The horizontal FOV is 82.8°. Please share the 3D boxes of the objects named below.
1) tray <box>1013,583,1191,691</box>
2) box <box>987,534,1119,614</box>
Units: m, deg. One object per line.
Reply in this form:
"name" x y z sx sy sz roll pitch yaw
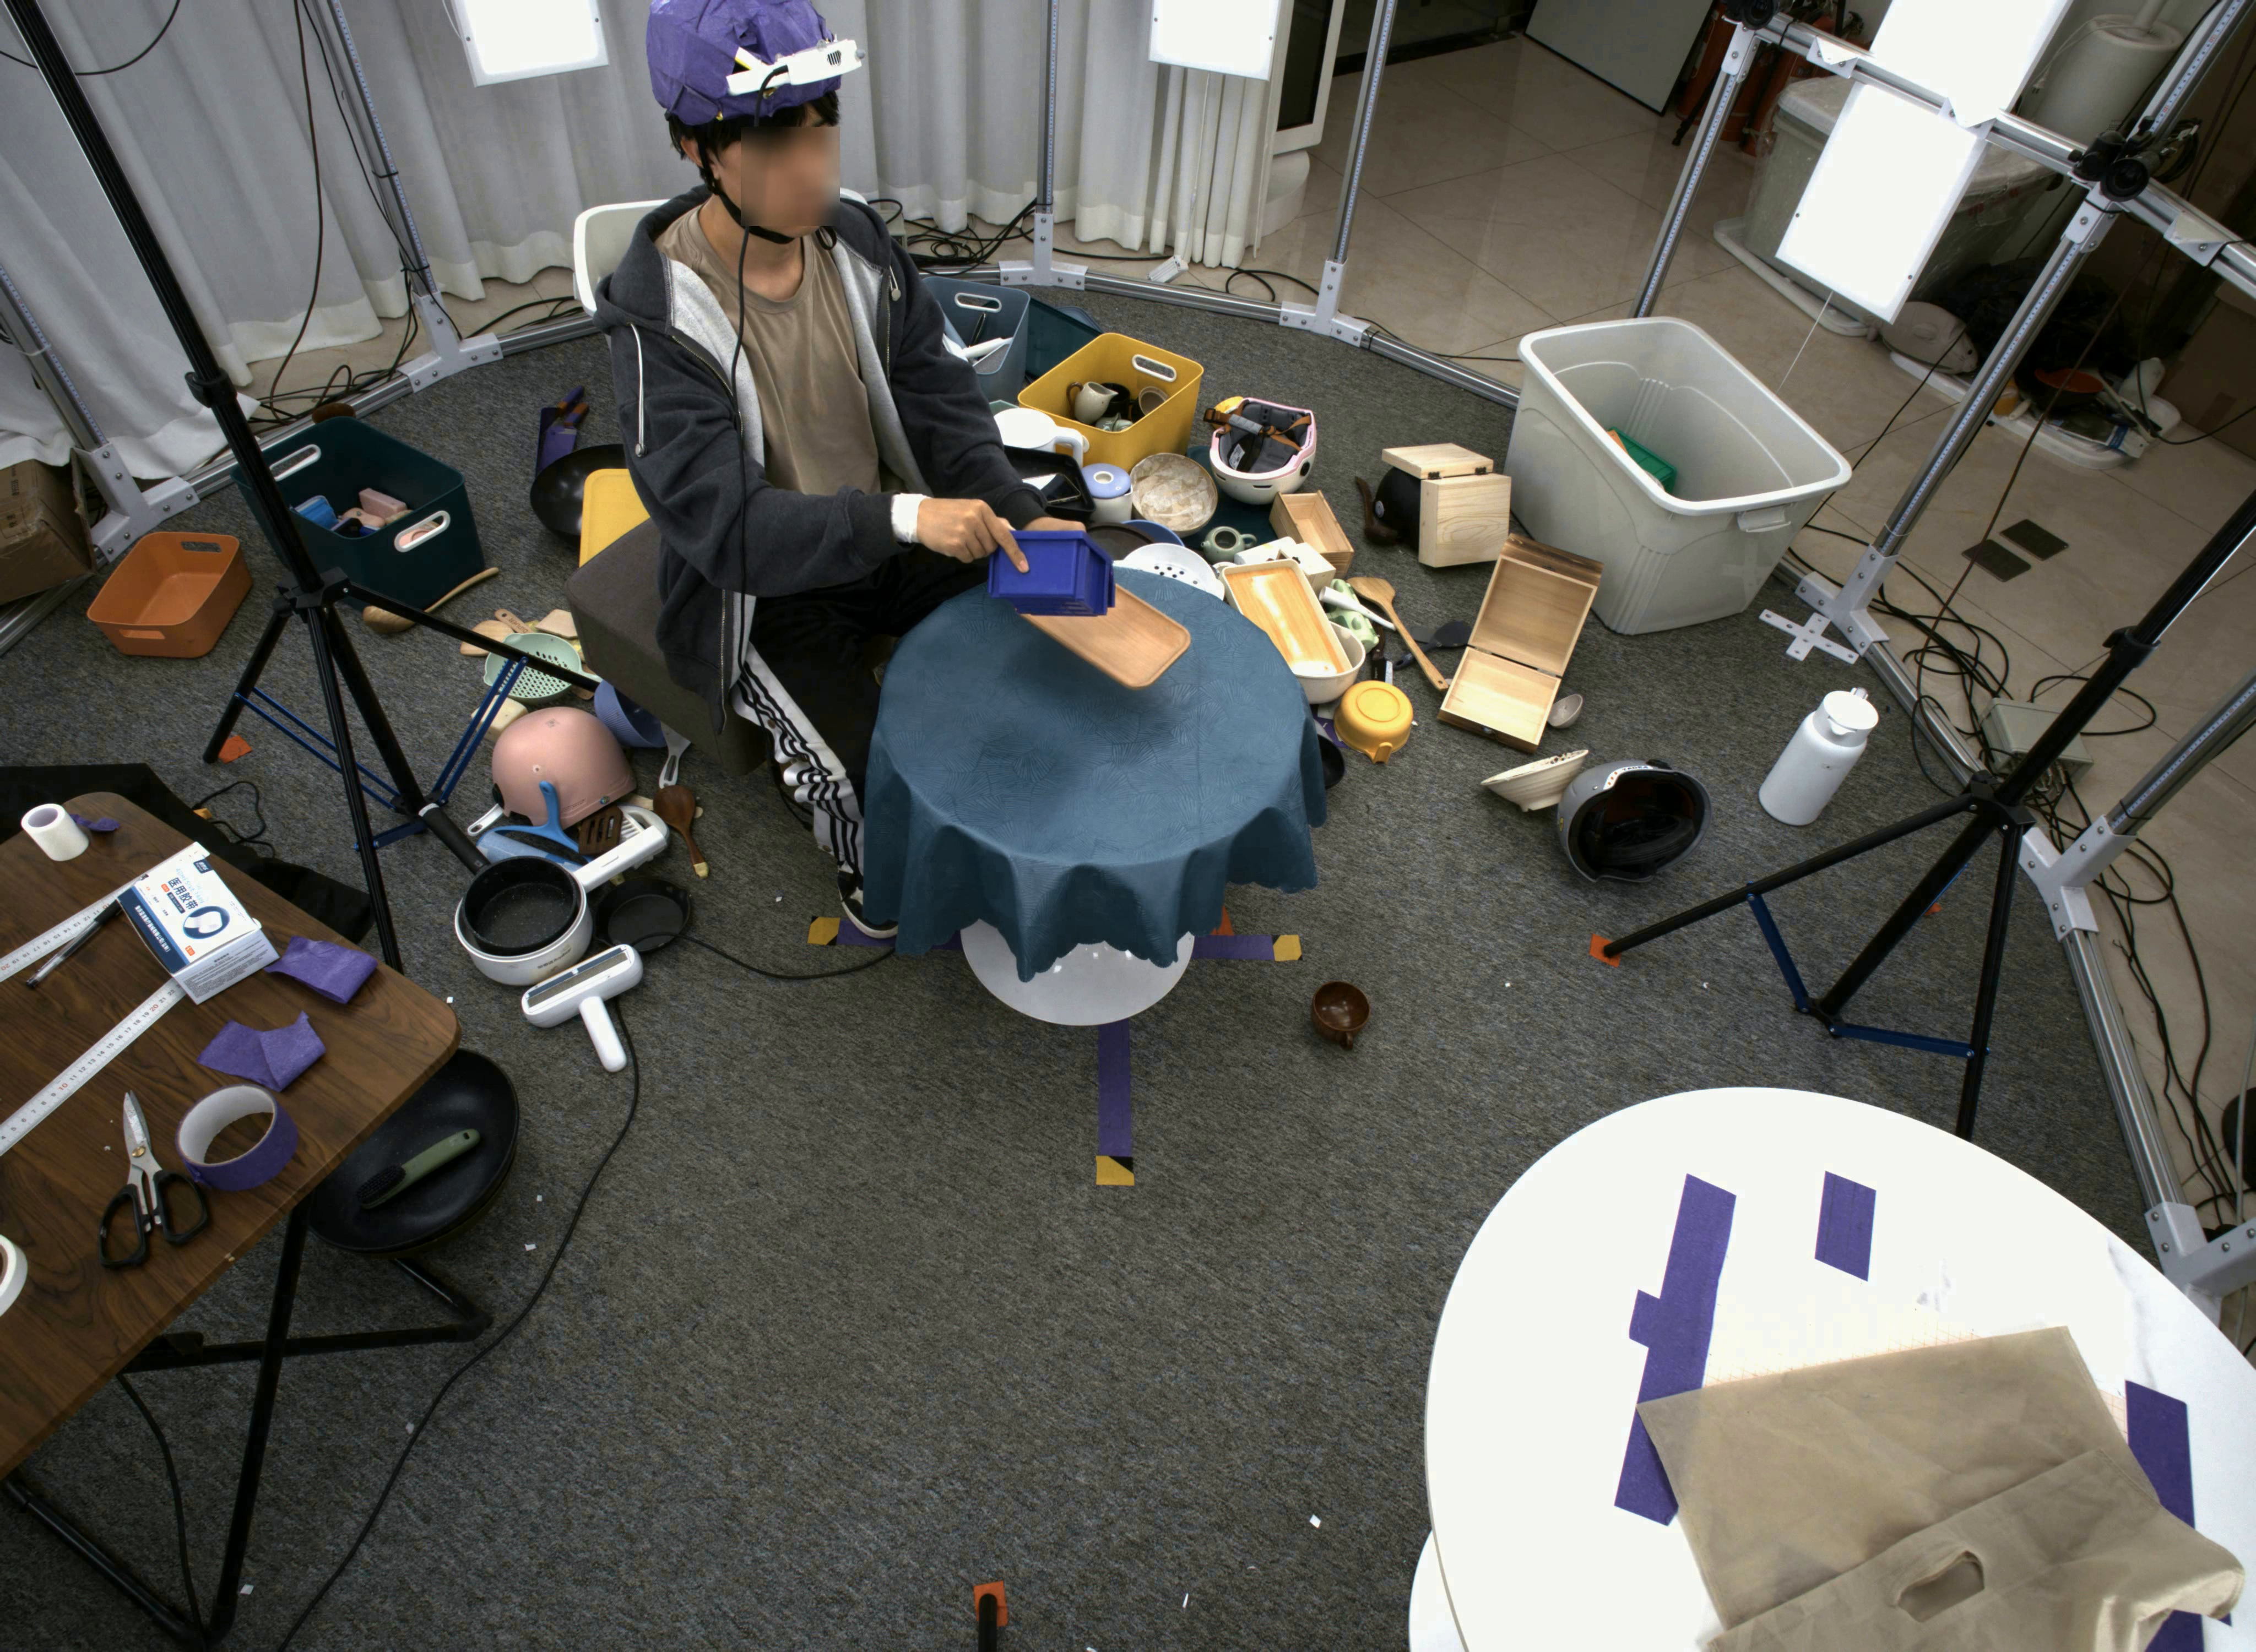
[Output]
"tray" -0.038 -0.285 1.798 0.254 0.022 0.132 36 63 23
"box" -0.095 -0.320 1.656 0.125 0.082 0.179 3 3 16
